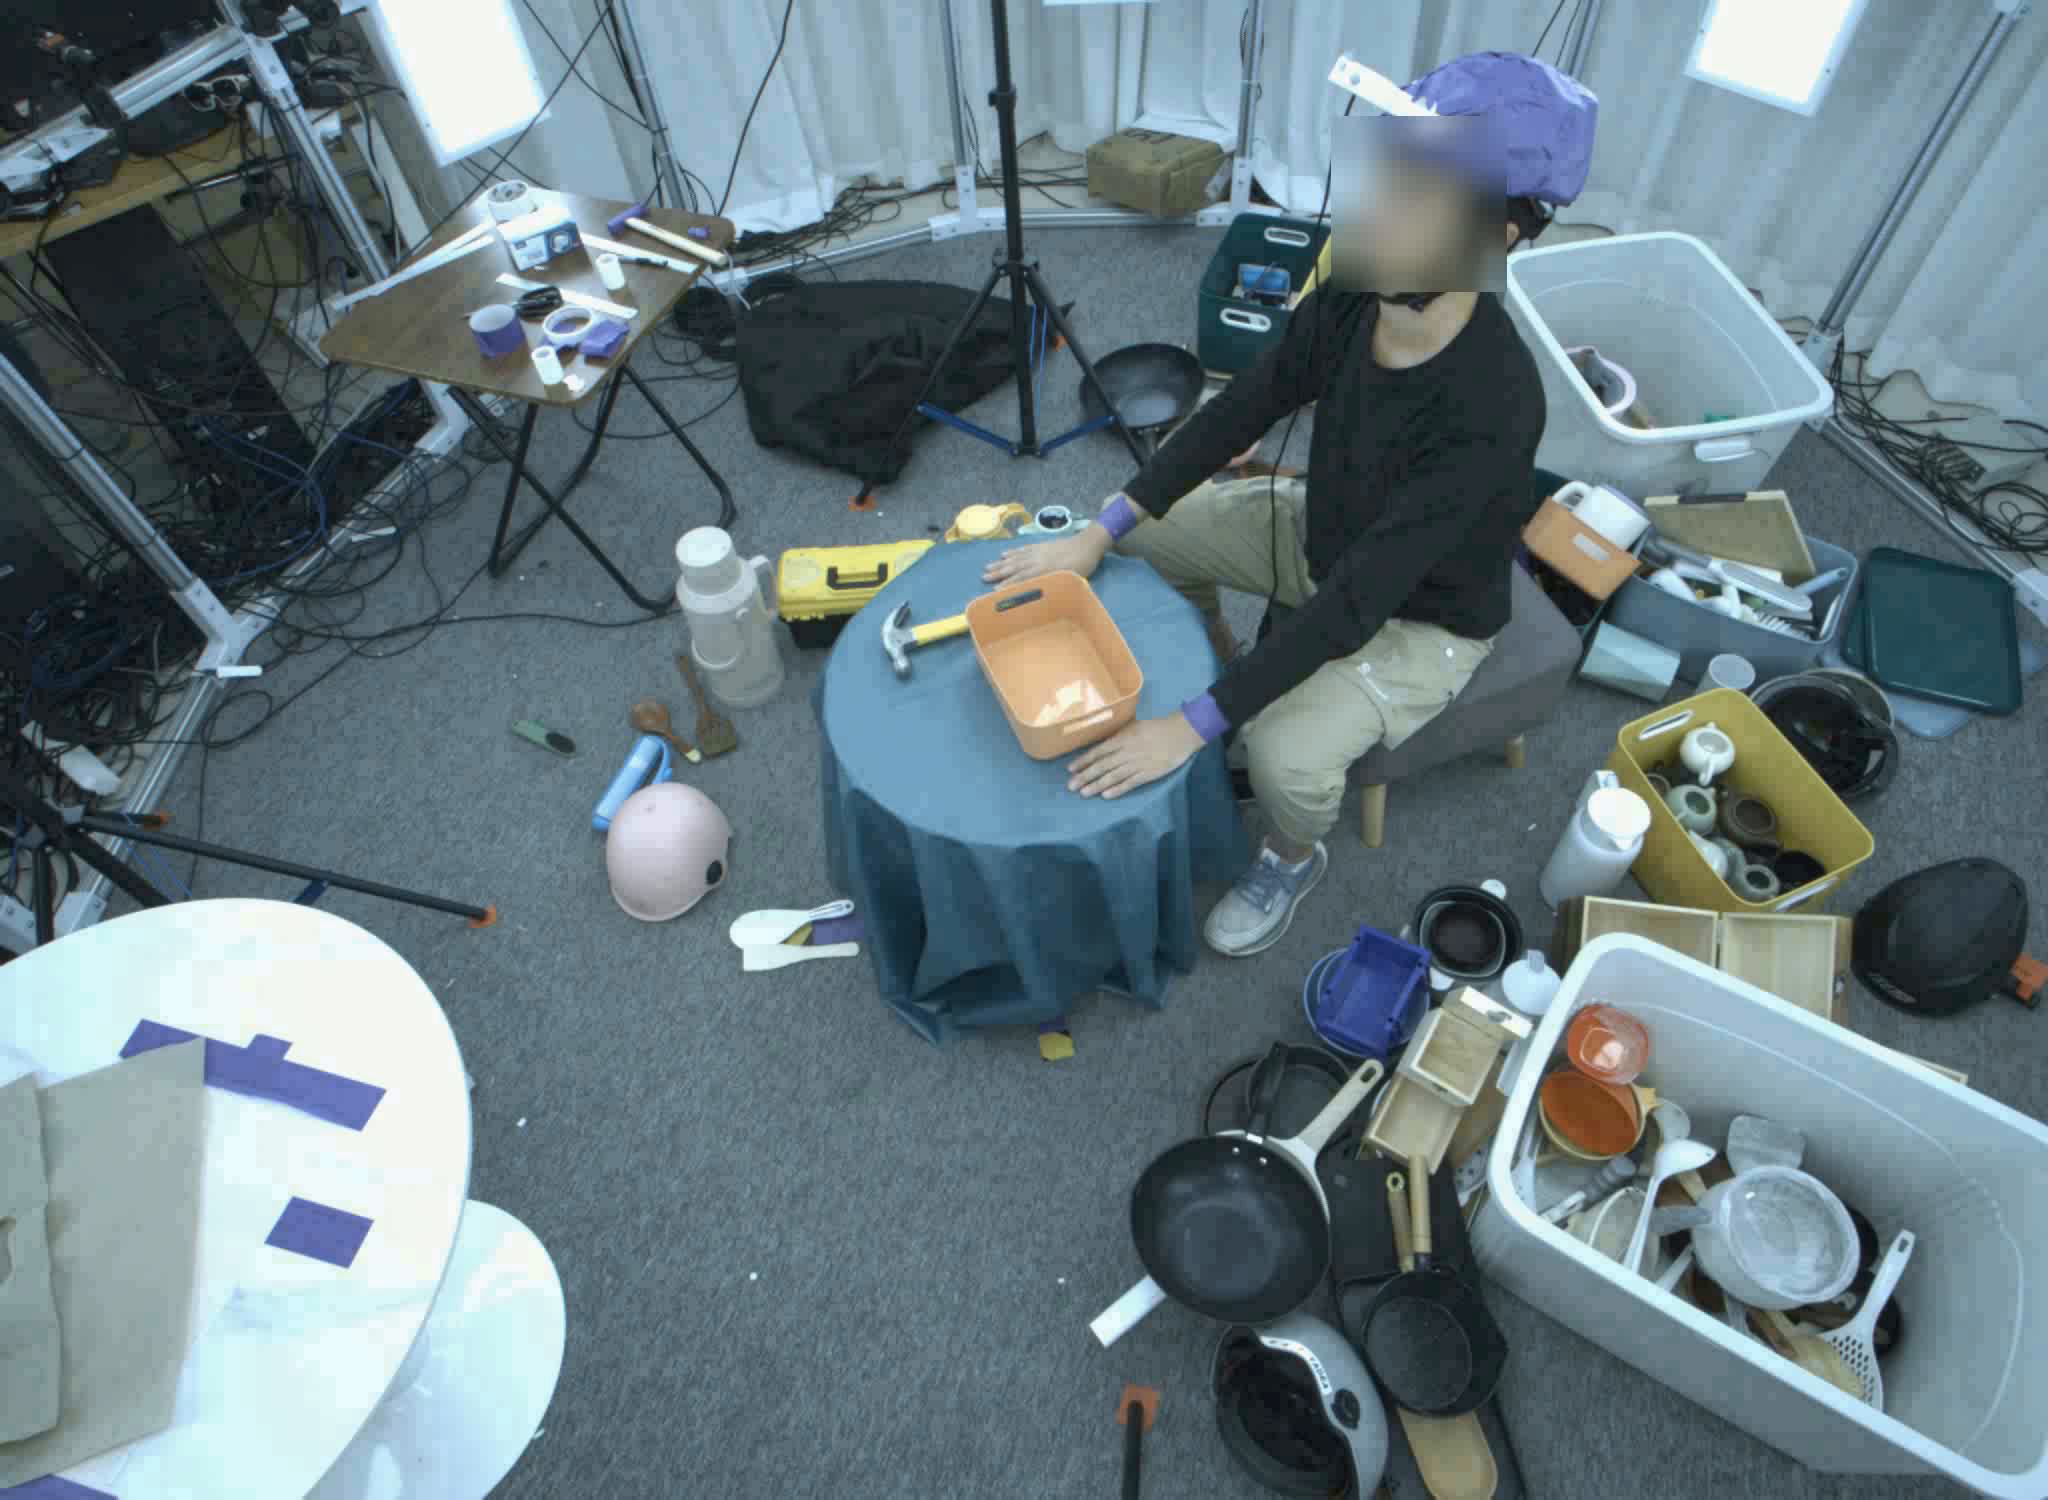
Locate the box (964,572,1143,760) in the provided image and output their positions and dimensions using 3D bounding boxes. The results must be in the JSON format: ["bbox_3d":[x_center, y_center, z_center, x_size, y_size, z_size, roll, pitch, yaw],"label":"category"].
[{"bbox_3d":[0.042,-0.122,1.806,0.201,0.103,0.268,-20,57,-13],"label":"box"}]

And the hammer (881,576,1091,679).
[{"bbox_3d":[-0.058,-0.211,1.914,0.340,0.032,0.129,-17,56,-9],"label":"hammer"}]
